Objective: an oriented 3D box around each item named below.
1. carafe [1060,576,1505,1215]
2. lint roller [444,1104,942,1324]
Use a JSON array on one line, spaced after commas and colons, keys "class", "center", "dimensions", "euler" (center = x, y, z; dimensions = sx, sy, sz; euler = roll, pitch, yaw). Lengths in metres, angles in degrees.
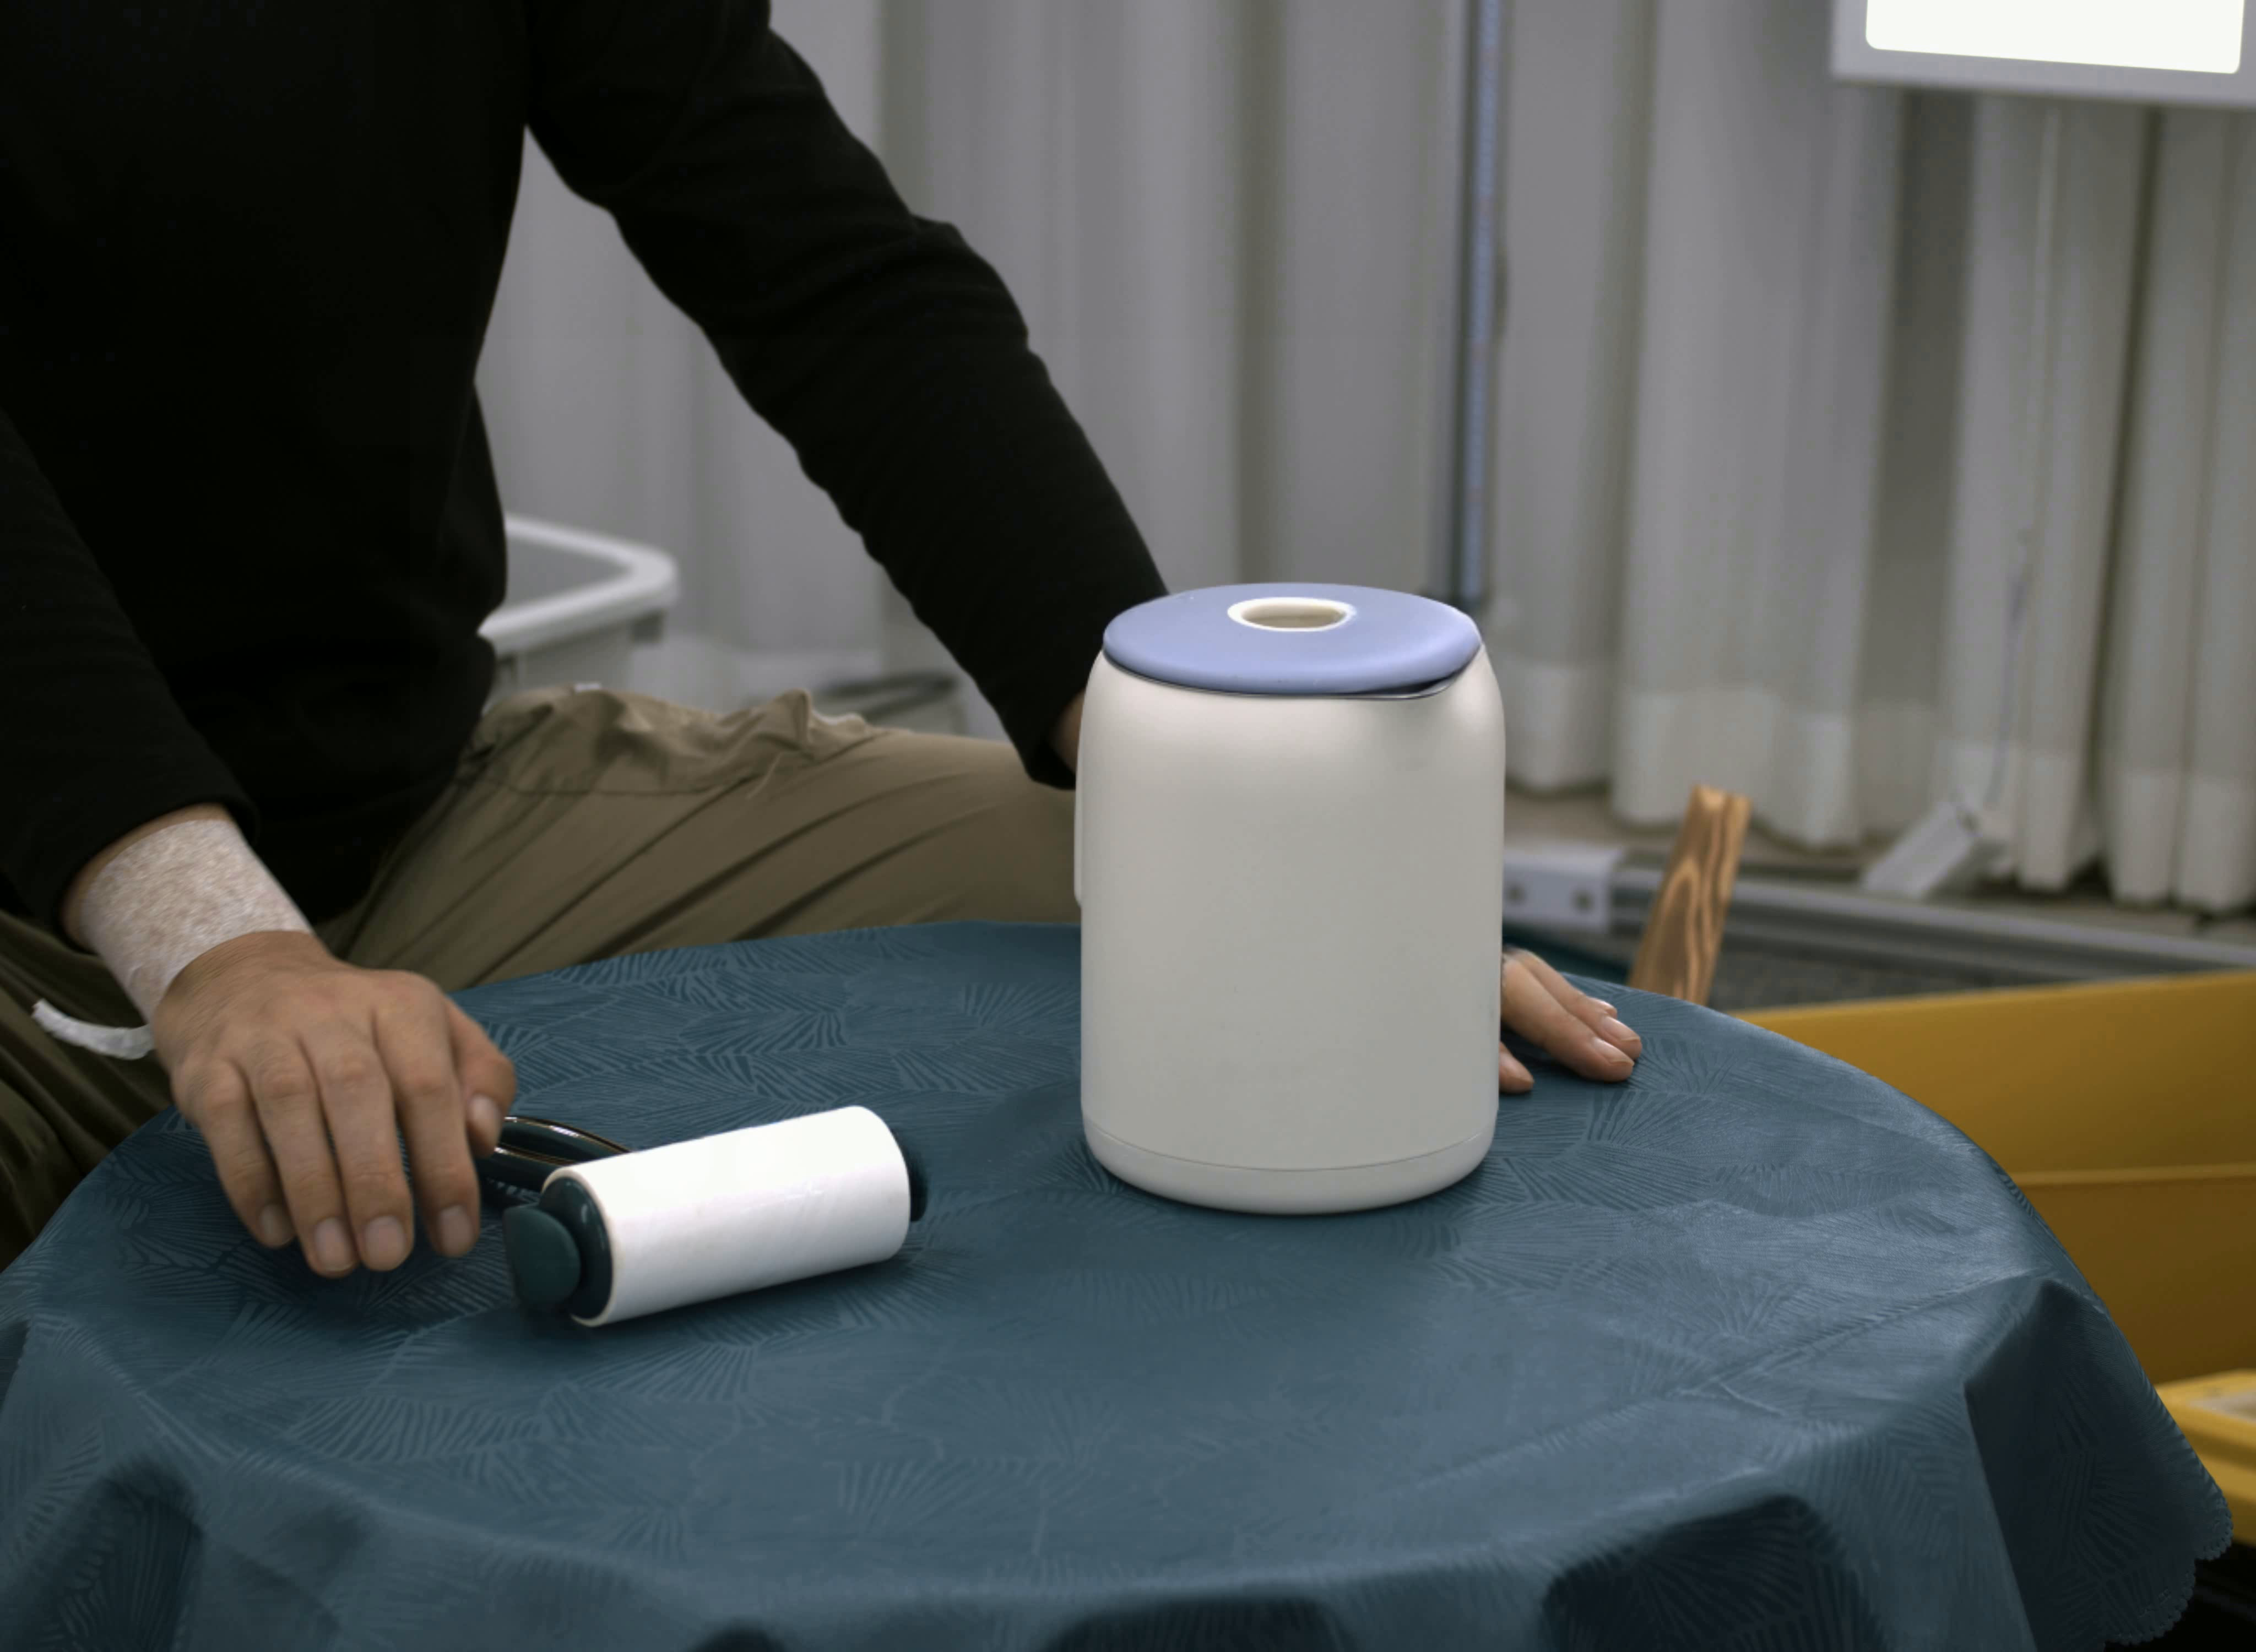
[{"class": "carafe", "center": [0.037, 0.015, 1.650], "dimensions": [0.133, 0.184, 0.188], "euler": [-10, 17, -33]}, {"class": "lint roller", "center": [-0.156, 0.101, 1.579], "dimensions": [0.135, 0.048, 0.178], "euler": [-10, 16, -34]}]
